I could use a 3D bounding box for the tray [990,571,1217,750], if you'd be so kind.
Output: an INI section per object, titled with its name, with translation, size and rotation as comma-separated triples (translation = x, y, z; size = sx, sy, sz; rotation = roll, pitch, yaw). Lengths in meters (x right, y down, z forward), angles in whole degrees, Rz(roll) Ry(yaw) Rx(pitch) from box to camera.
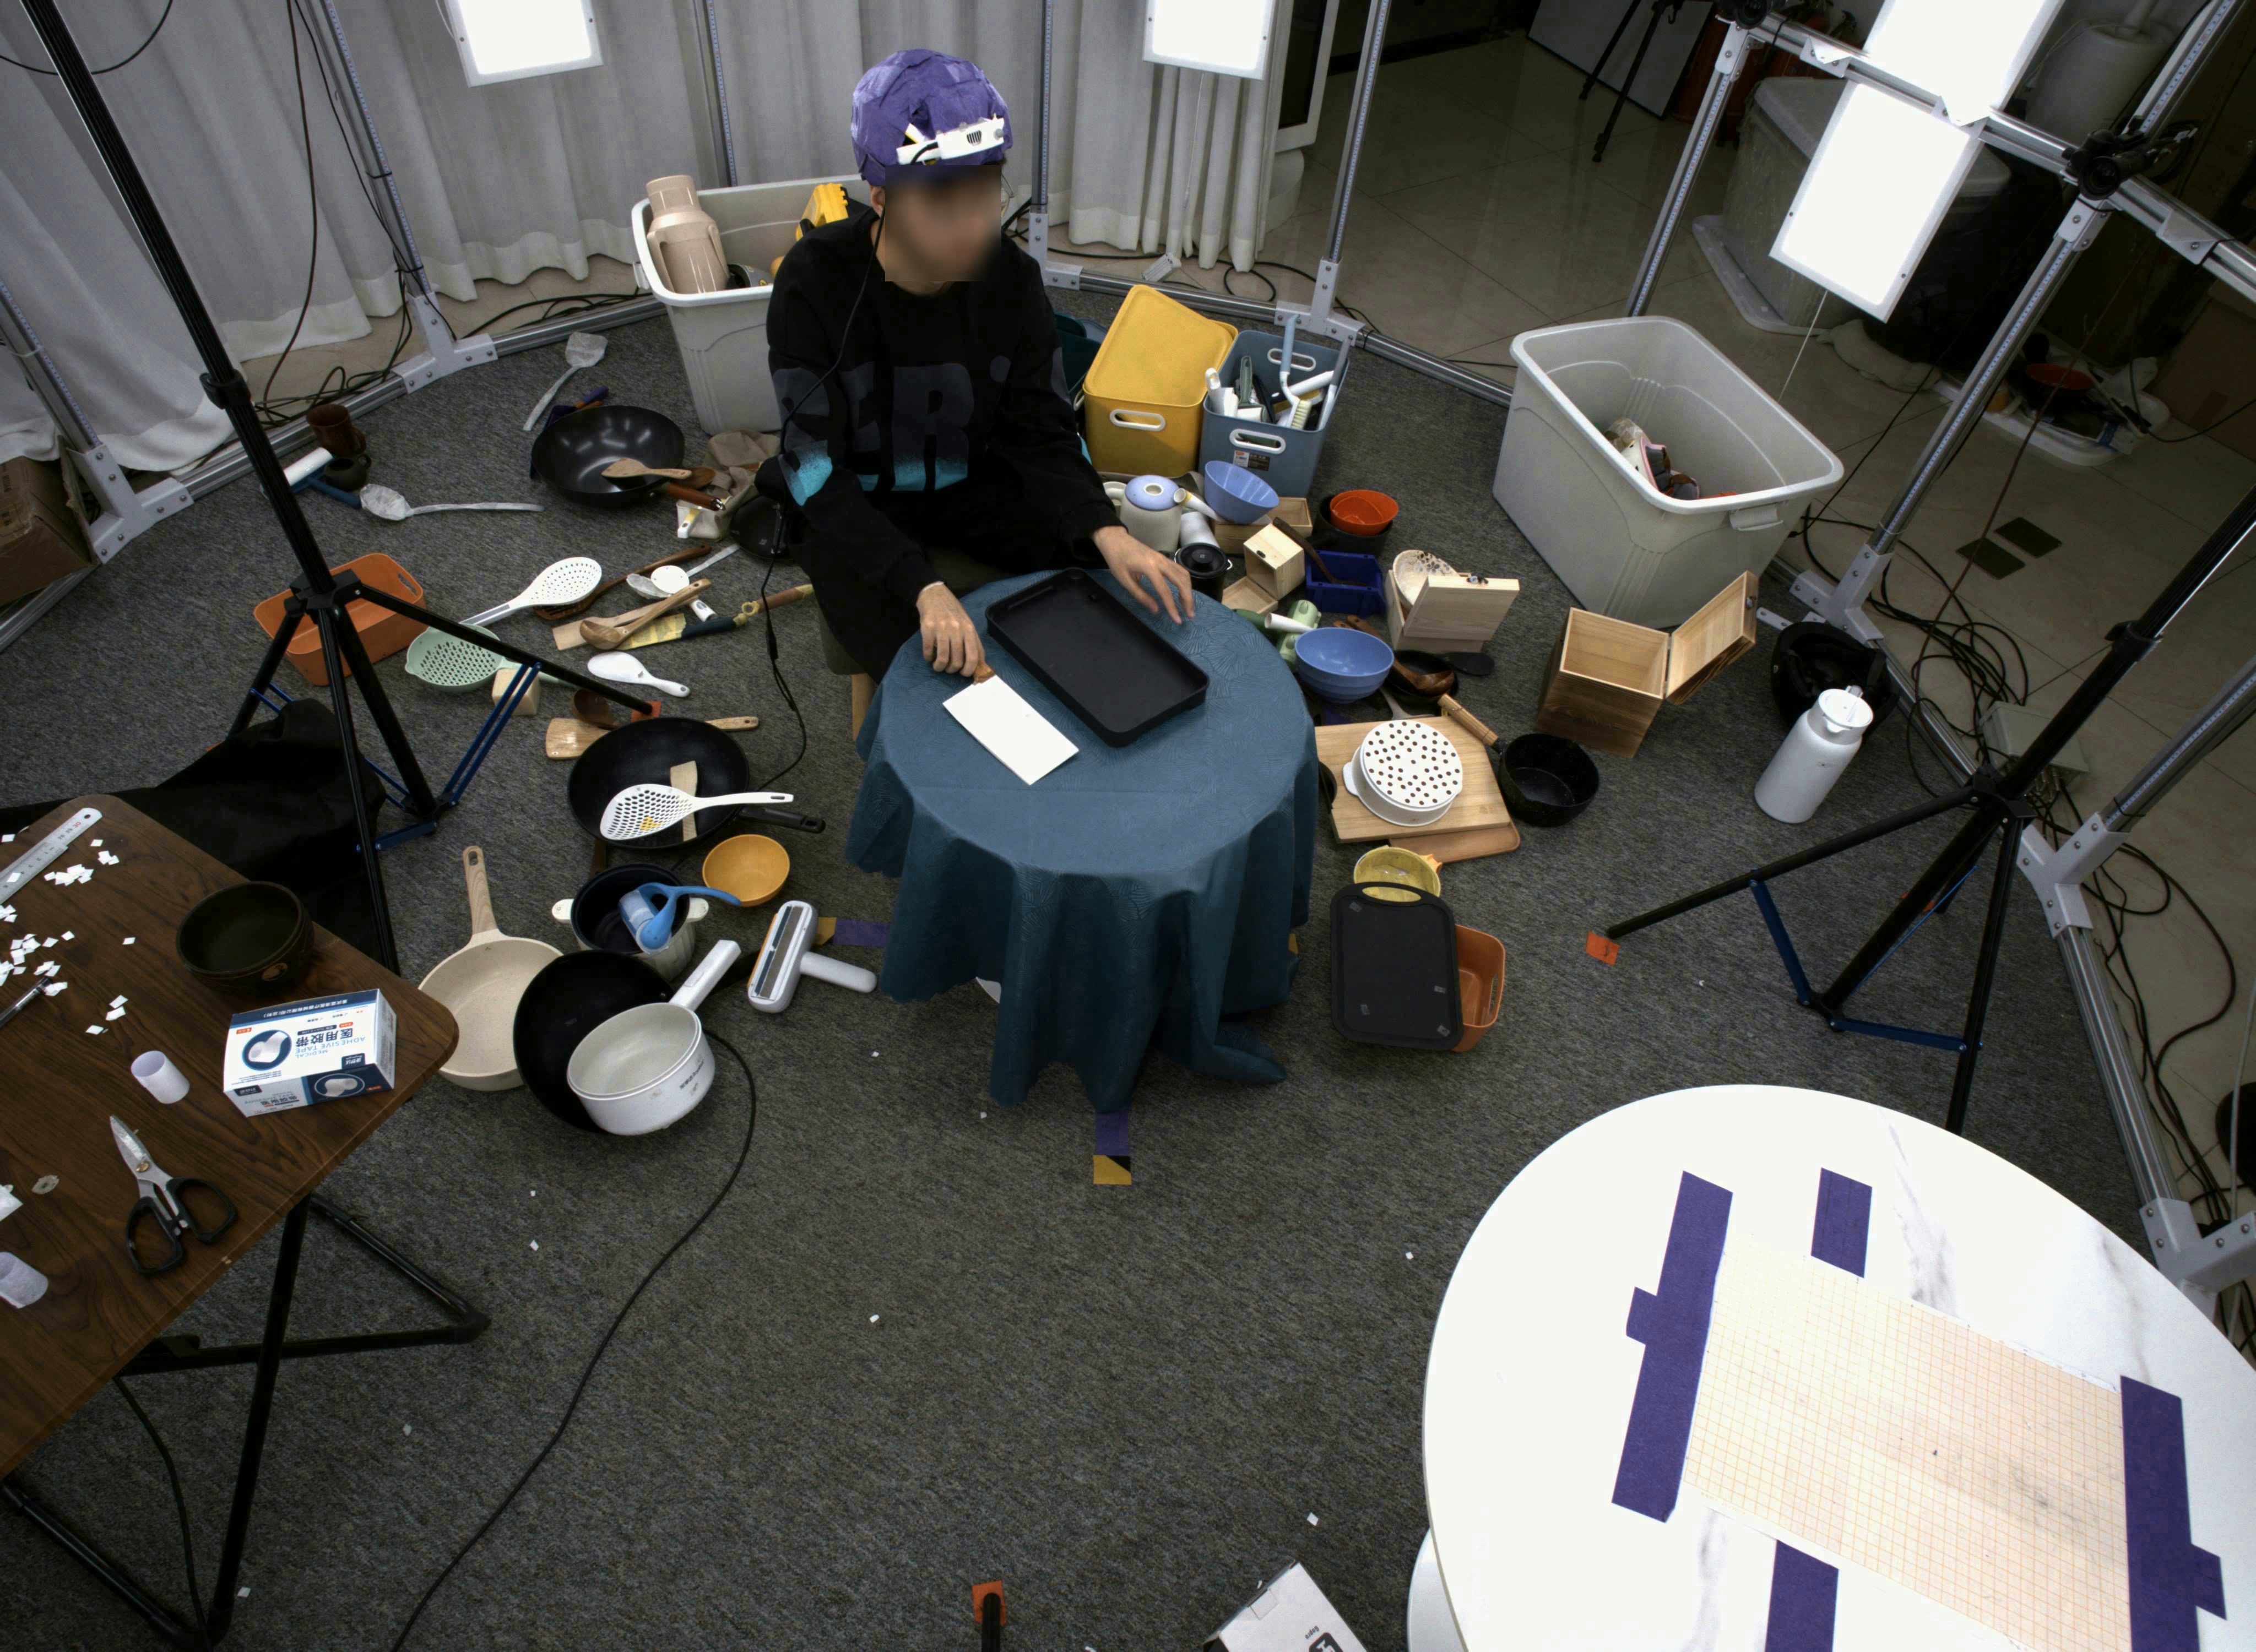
[tray]
translation = -0.039, -0.245, 1.856
size = 0.185, 0.036, 0.323
rotation = -32, 58, -27

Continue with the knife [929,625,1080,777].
[knife]
translation = -0.195, -0.173, 1.791
size = 0.093, 0.020, 0.310
rotation = -35, 62, -23
